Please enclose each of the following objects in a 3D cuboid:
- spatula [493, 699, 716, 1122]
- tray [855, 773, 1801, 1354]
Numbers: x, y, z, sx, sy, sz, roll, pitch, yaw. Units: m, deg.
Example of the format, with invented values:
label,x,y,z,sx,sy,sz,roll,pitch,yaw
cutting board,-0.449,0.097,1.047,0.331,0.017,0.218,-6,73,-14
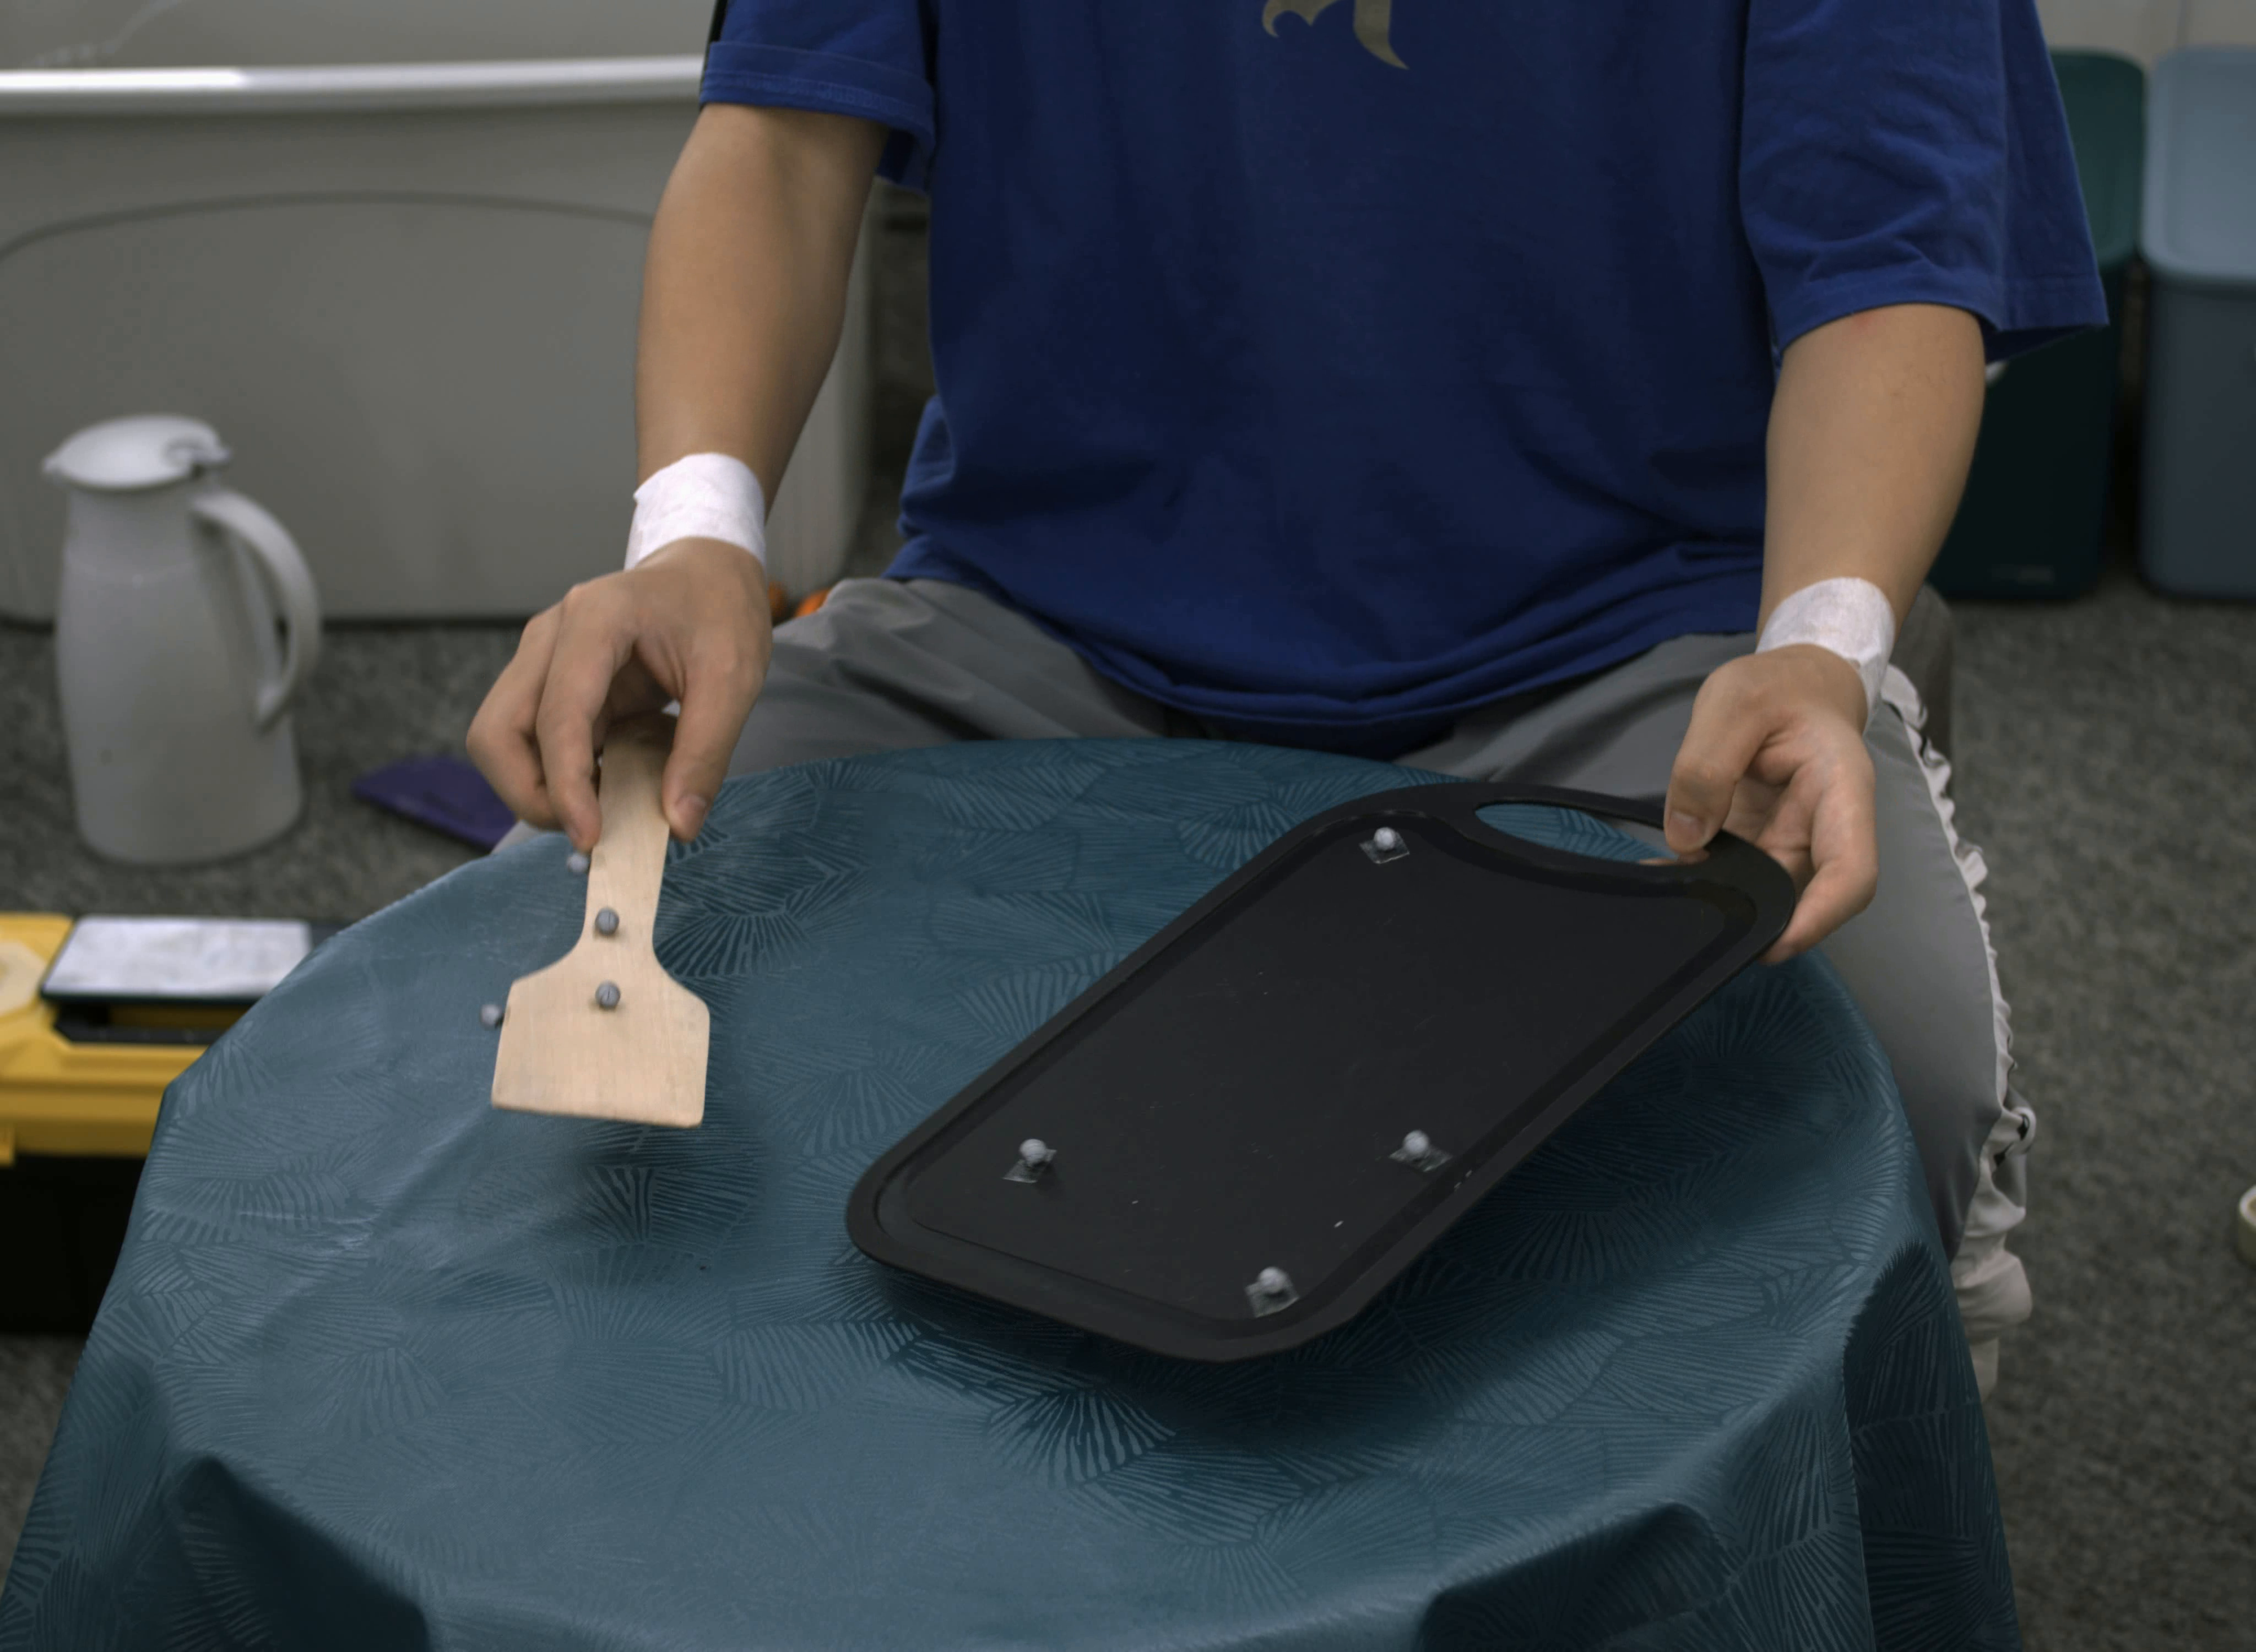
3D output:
label,x,y,z,sx,sy,sz,roll,pitch,yaw
spatula,-0.175,0.025,1.956,0.072,0.010,0.297,6,28,-5
tray,0.071,0.066,1.847,0.210,0.010,0.330,12,38,42
